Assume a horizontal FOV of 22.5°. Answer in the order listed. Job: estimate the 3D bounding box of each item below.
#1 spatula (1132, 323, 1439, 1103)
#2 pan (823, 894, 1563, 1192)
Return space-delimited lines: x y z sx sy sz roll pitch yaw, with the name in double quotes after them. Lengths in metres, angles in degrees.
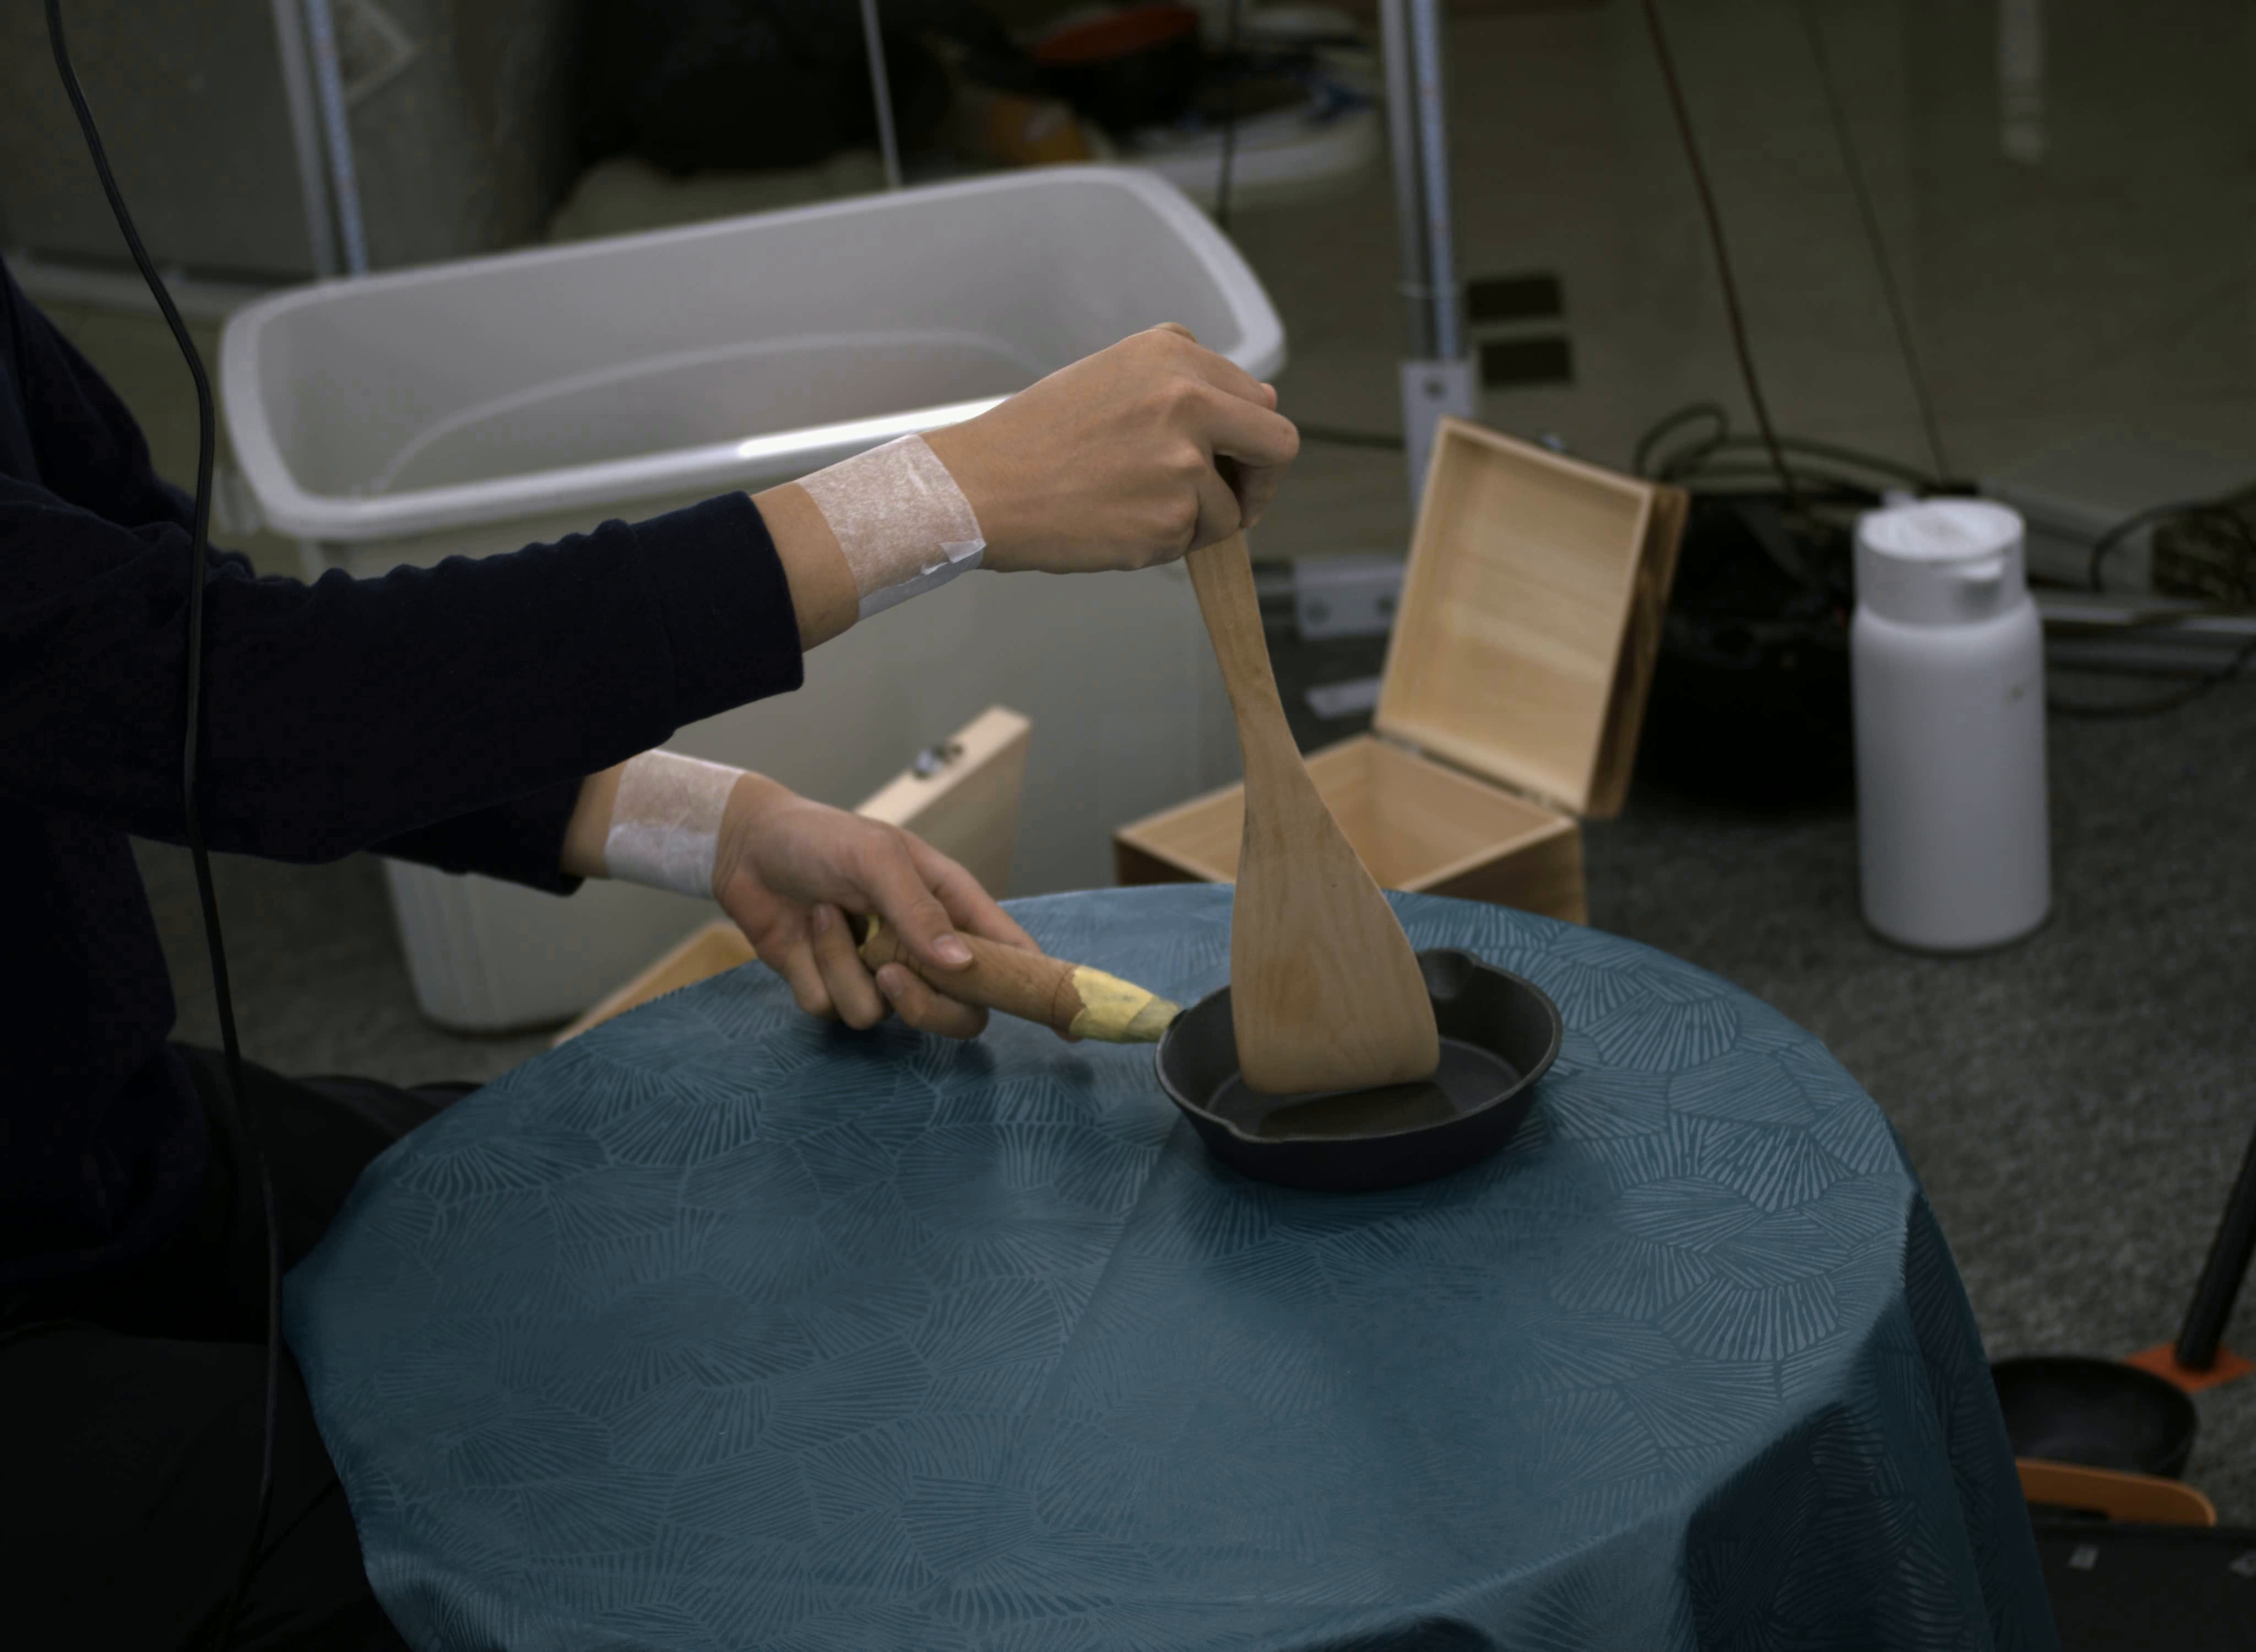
0.048 -0.036 2.124 0.080 0.332 0.016 -15 24 -1 "spatula"
0.018 0.076 2.216 0.322 0.050 0.167 11 31 31 "pan"
